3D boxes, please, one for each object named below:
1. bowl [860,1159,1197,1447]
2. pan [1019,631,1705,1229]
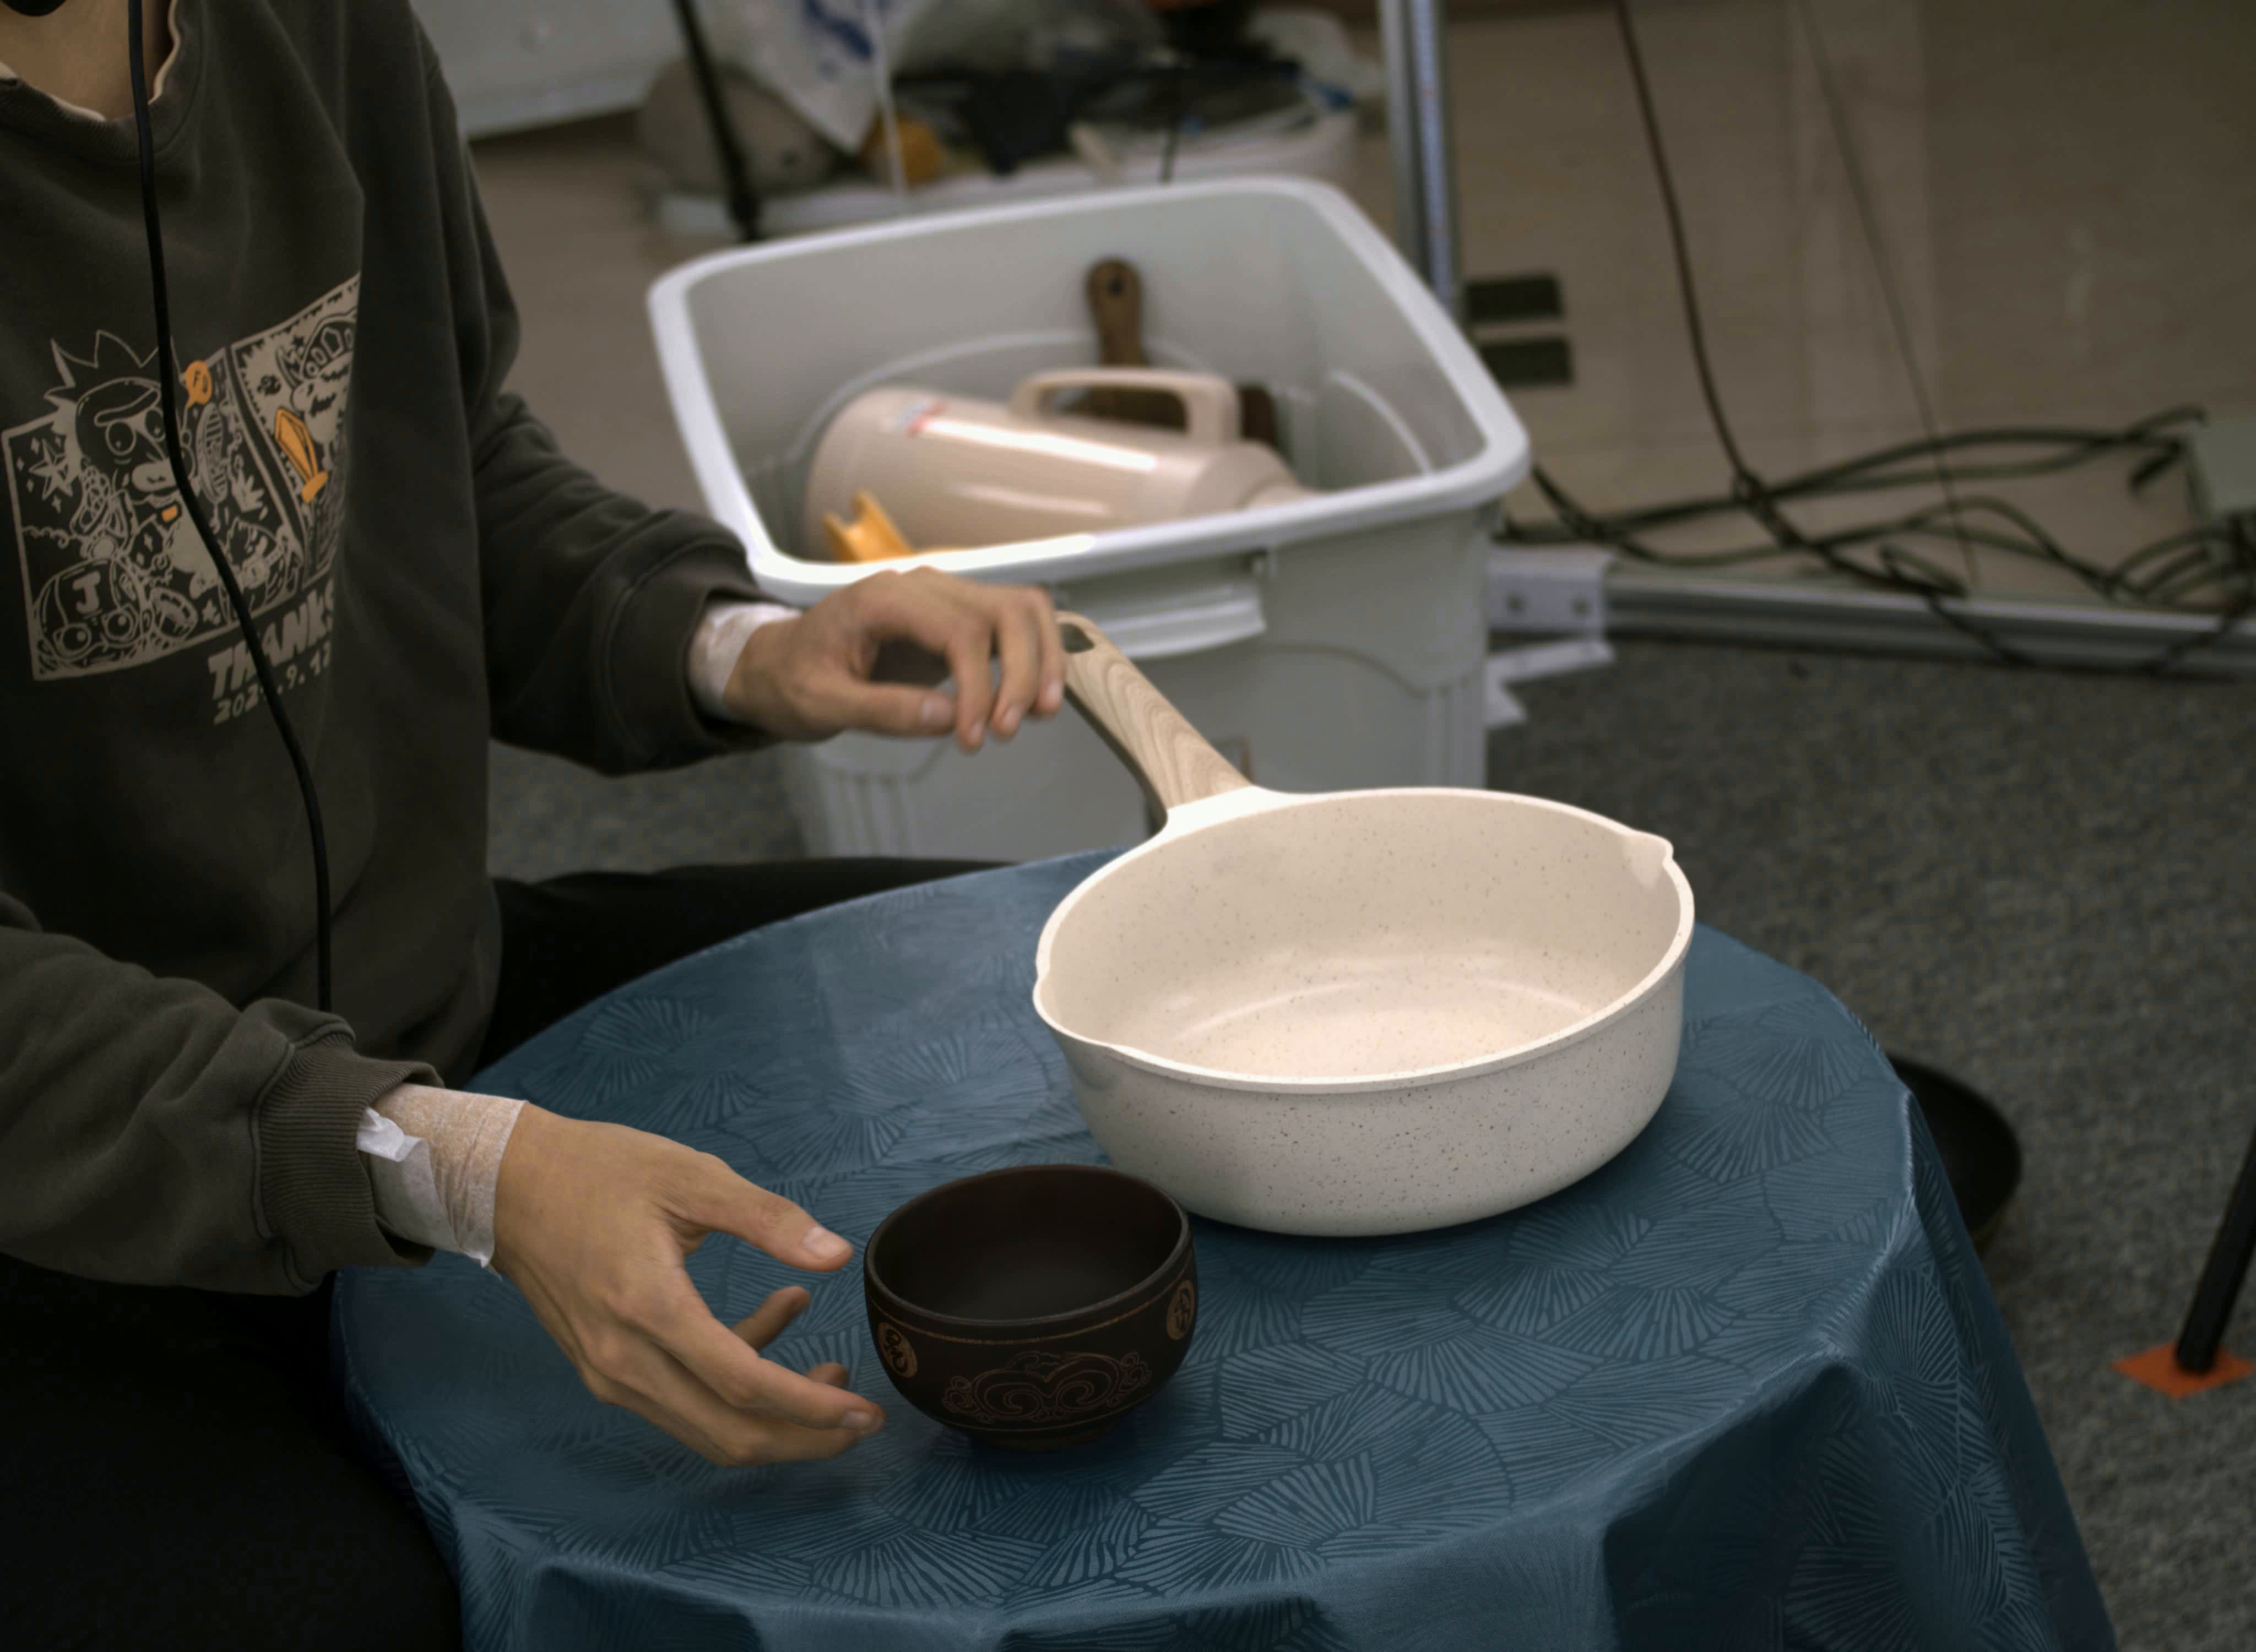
[{"bbox_3d":[-0.033,0.174,1.994,0.118,0.071,0.116,-7,25,3],"label":"bowl"},{"bbox_3d":[0.060,0.035,2.238,0.262,0.103,0.429,-18,26,-18],"label":"pan"}]
